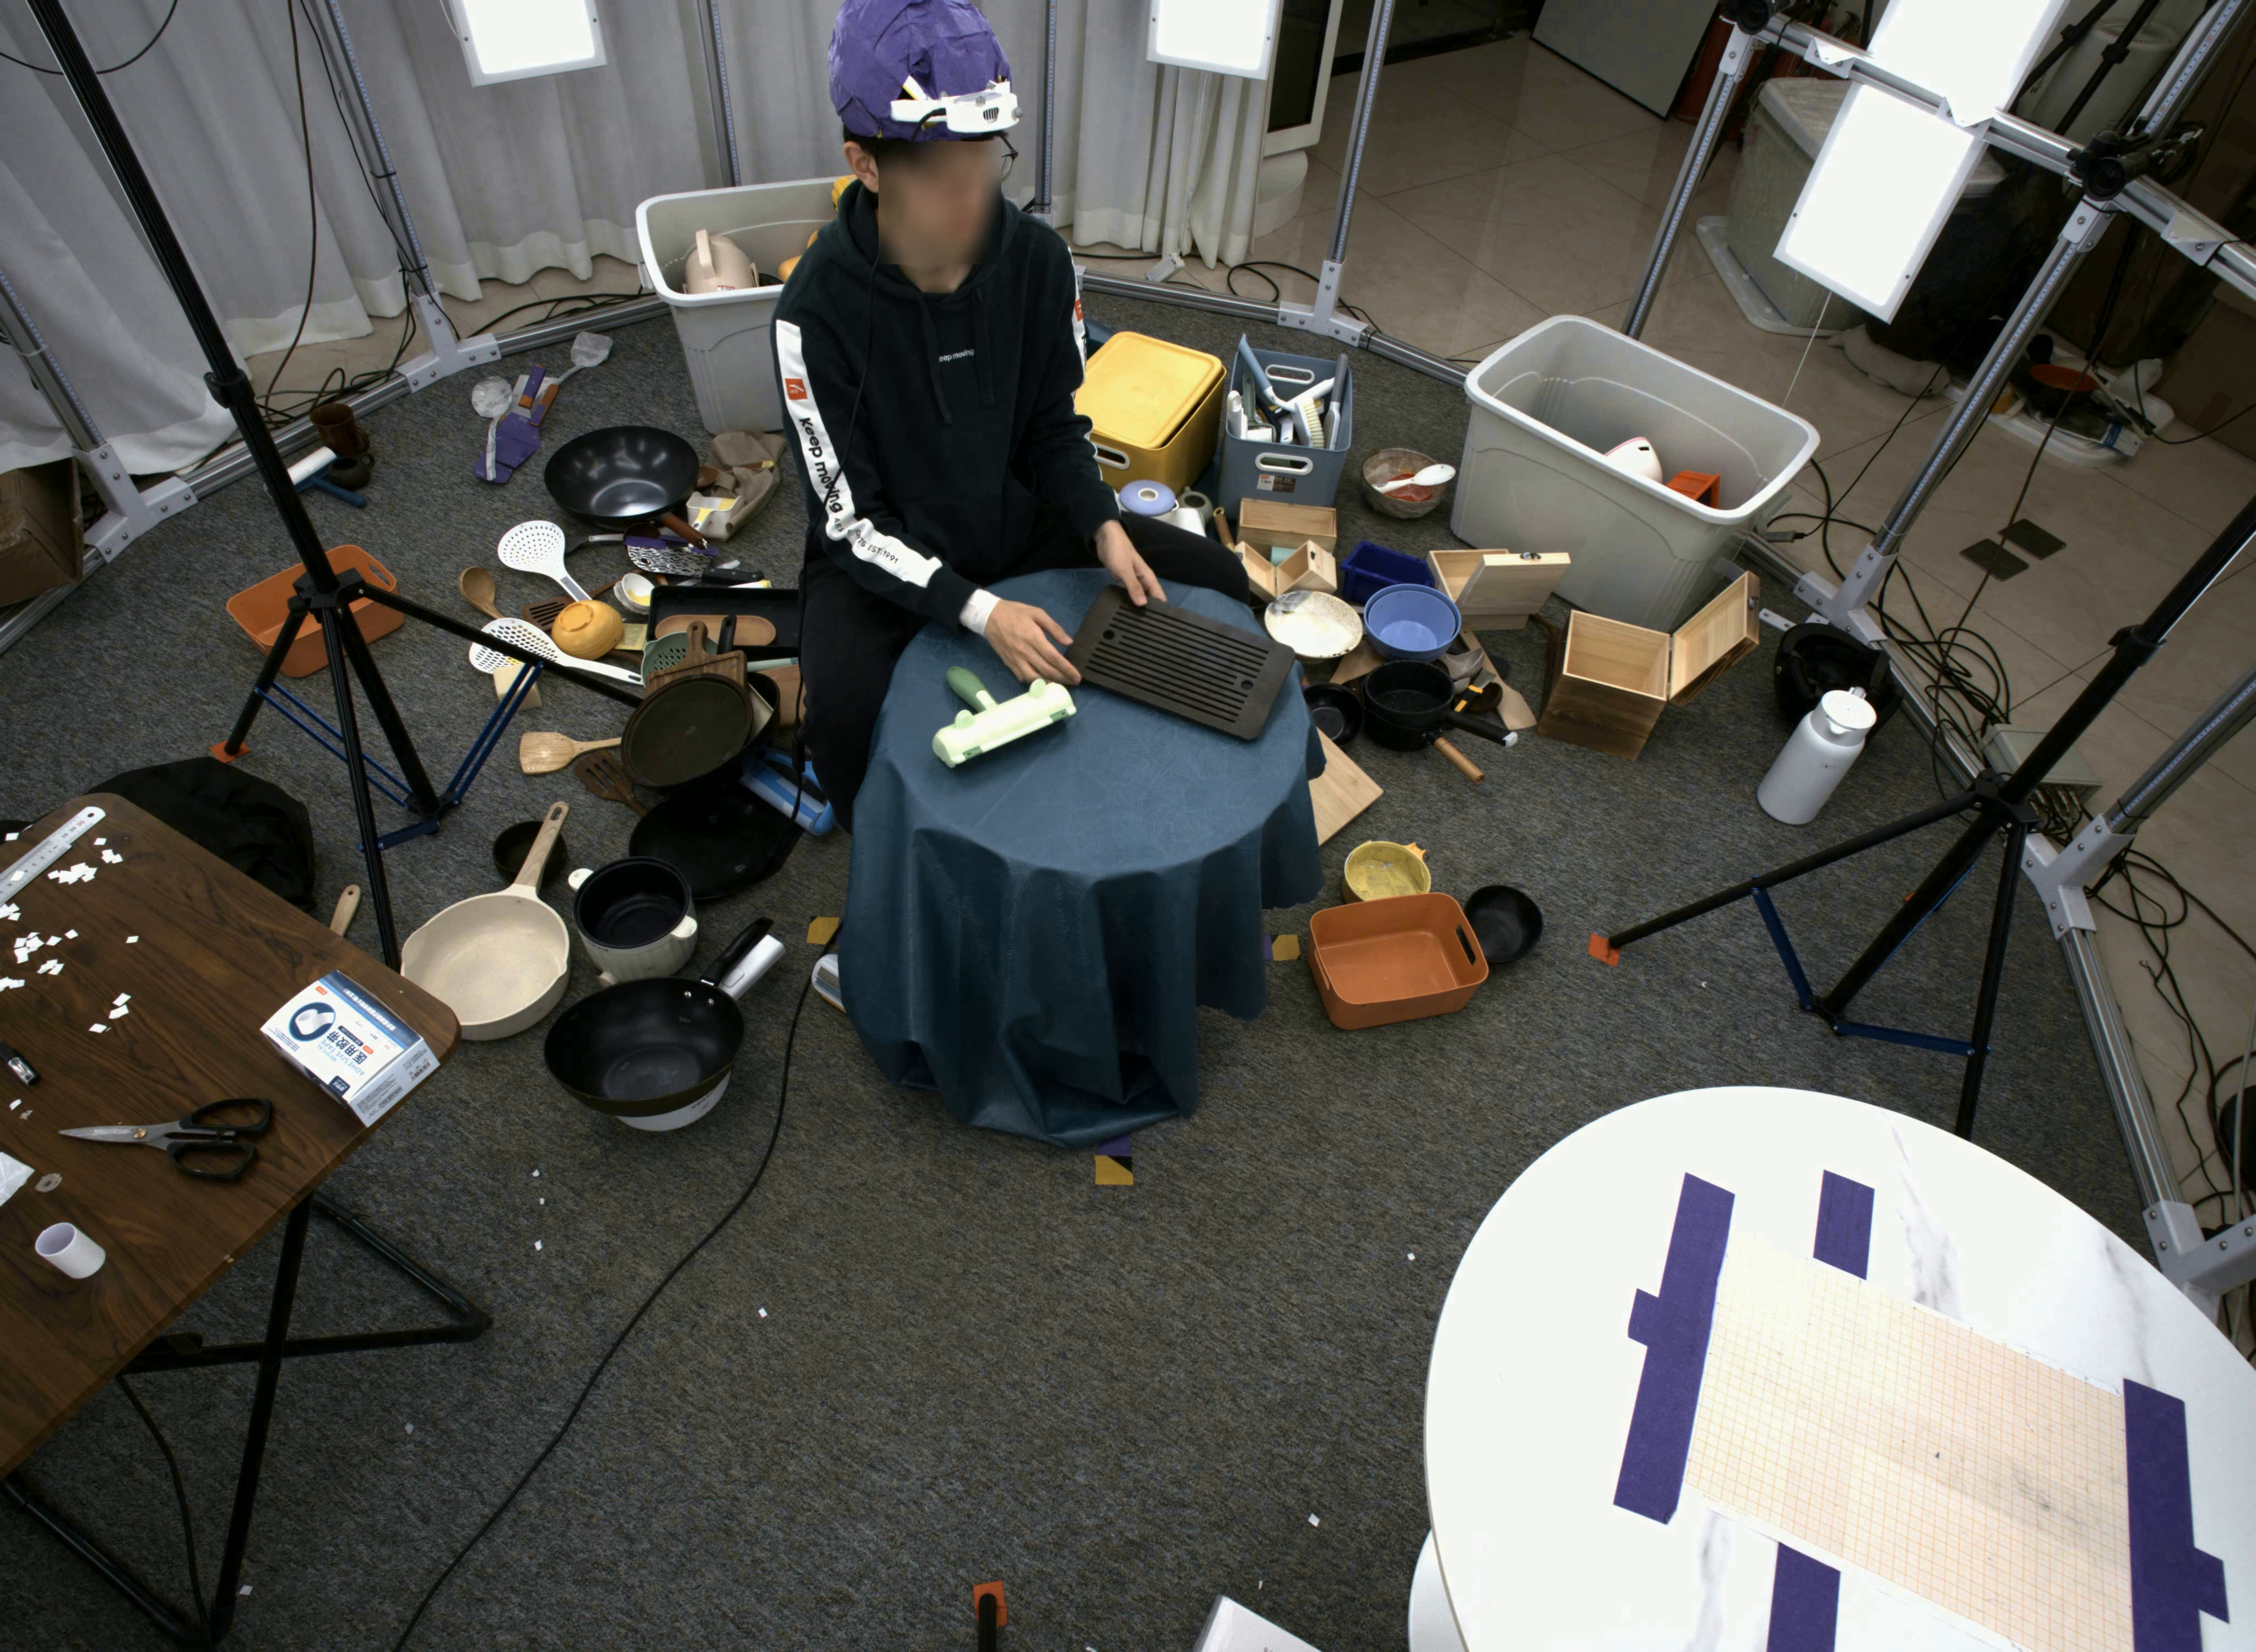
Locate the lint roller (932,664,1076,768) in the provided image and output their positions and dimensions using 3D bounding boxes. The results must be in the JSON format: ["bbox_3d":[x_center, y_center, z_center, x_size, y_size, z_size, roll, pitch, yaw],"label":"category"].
[{"bbox_3d":[-0.198,-0.180,1.760,0.199,0.080,0.187,-26,59,-23],"label":"lint roller"}]

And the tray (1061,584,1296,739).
[{"bbox_3d":[0.072,-0.237,1.844,0.307,0.018,0.173,21,63,13],"label":"tray"}]
